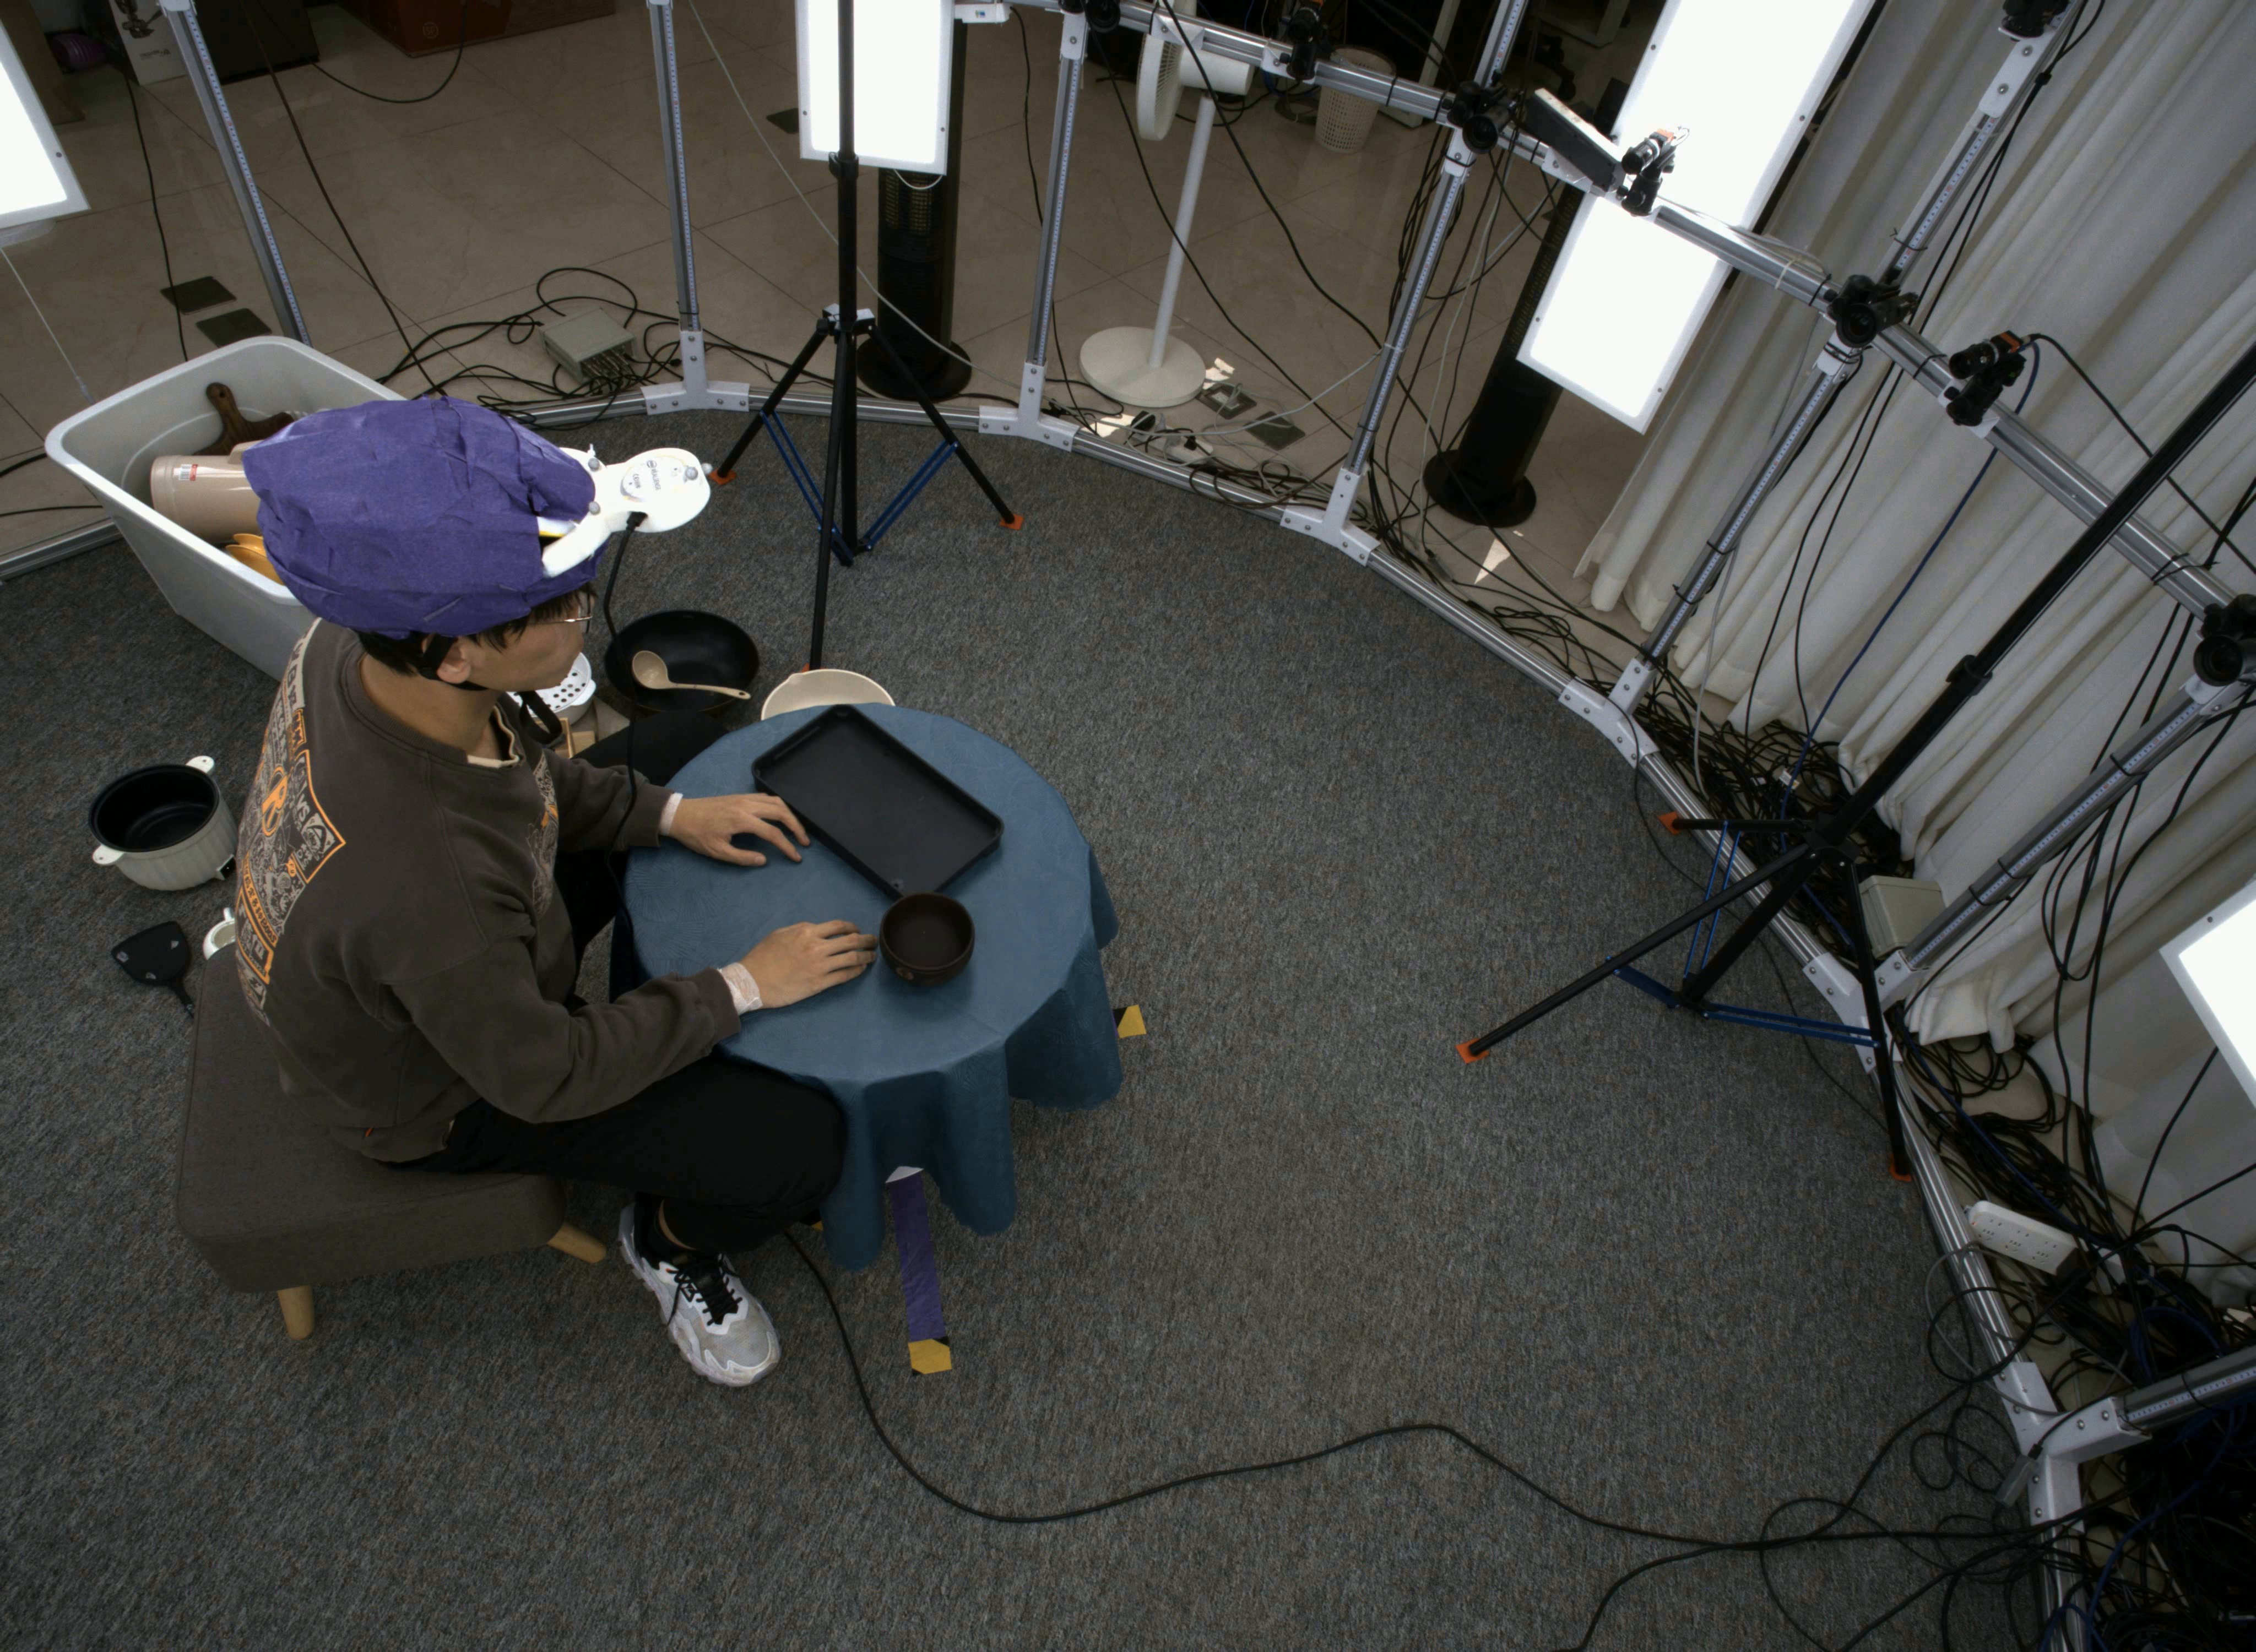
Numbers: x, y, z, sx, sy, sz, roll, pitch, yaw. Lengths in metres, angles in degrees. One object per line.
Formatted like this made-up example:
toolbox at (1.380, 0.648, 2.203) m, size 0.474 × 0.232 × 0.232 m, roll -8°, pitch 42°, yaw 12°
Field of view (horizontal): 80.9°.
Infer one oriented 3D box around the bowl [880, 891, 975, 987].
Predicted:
bowl at (-0.250, 0.147, 1.627) m, size 0.117 × 0.071 × 0.116 m, roll 6°, pitch 54°, yaw -6°

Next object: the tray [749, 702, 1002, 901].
tray at (-0.341, -0.032, 1.760) m, size 0.312 × 0.038 × 0.184 m, roll 35°, pitch 55°, yaw 12°
